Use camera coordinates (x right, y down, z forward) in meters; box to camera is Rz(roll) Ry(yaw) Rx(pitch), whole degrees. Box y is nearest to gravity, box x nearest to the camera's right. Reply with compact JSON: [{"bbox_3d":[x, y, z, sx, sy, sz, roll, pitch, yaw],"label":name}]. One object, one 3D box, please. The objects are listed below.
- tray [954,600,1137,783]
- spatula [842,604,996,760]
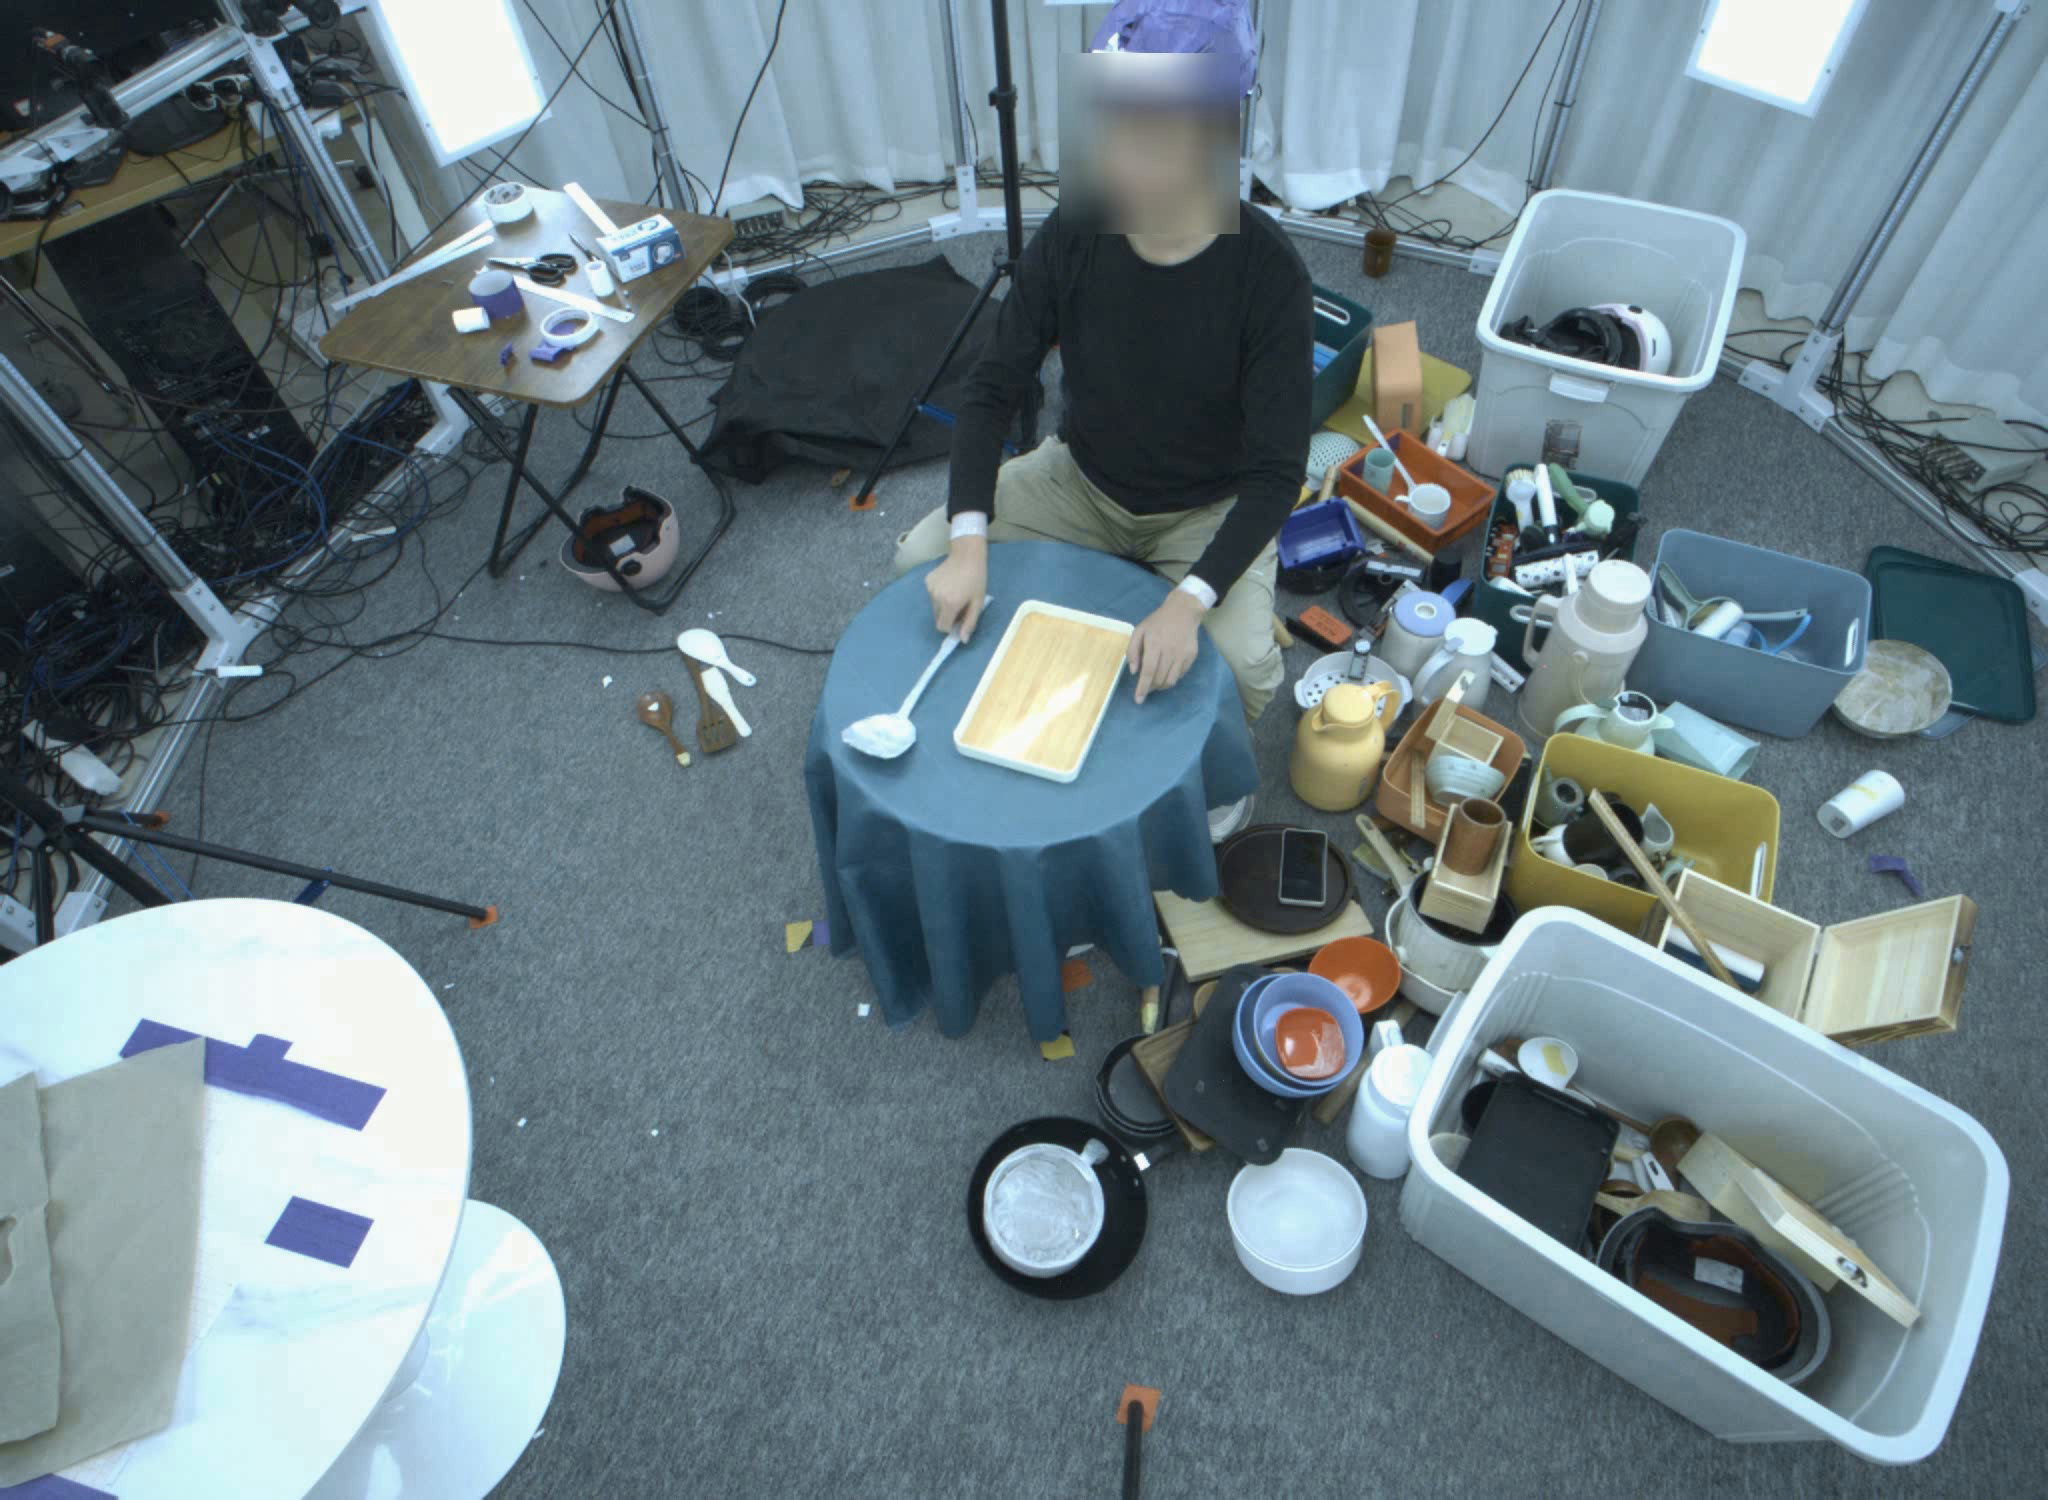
[{"bbox_3d":[0.036,-0.094,1.836,0.189,0.028,0.300,17,57,13],"label":"tray"},{"bbox_3d":[-0.142,-0.117,1.852,0.097,0.045,0.365,23,59,17],"label":"spatula"}]
